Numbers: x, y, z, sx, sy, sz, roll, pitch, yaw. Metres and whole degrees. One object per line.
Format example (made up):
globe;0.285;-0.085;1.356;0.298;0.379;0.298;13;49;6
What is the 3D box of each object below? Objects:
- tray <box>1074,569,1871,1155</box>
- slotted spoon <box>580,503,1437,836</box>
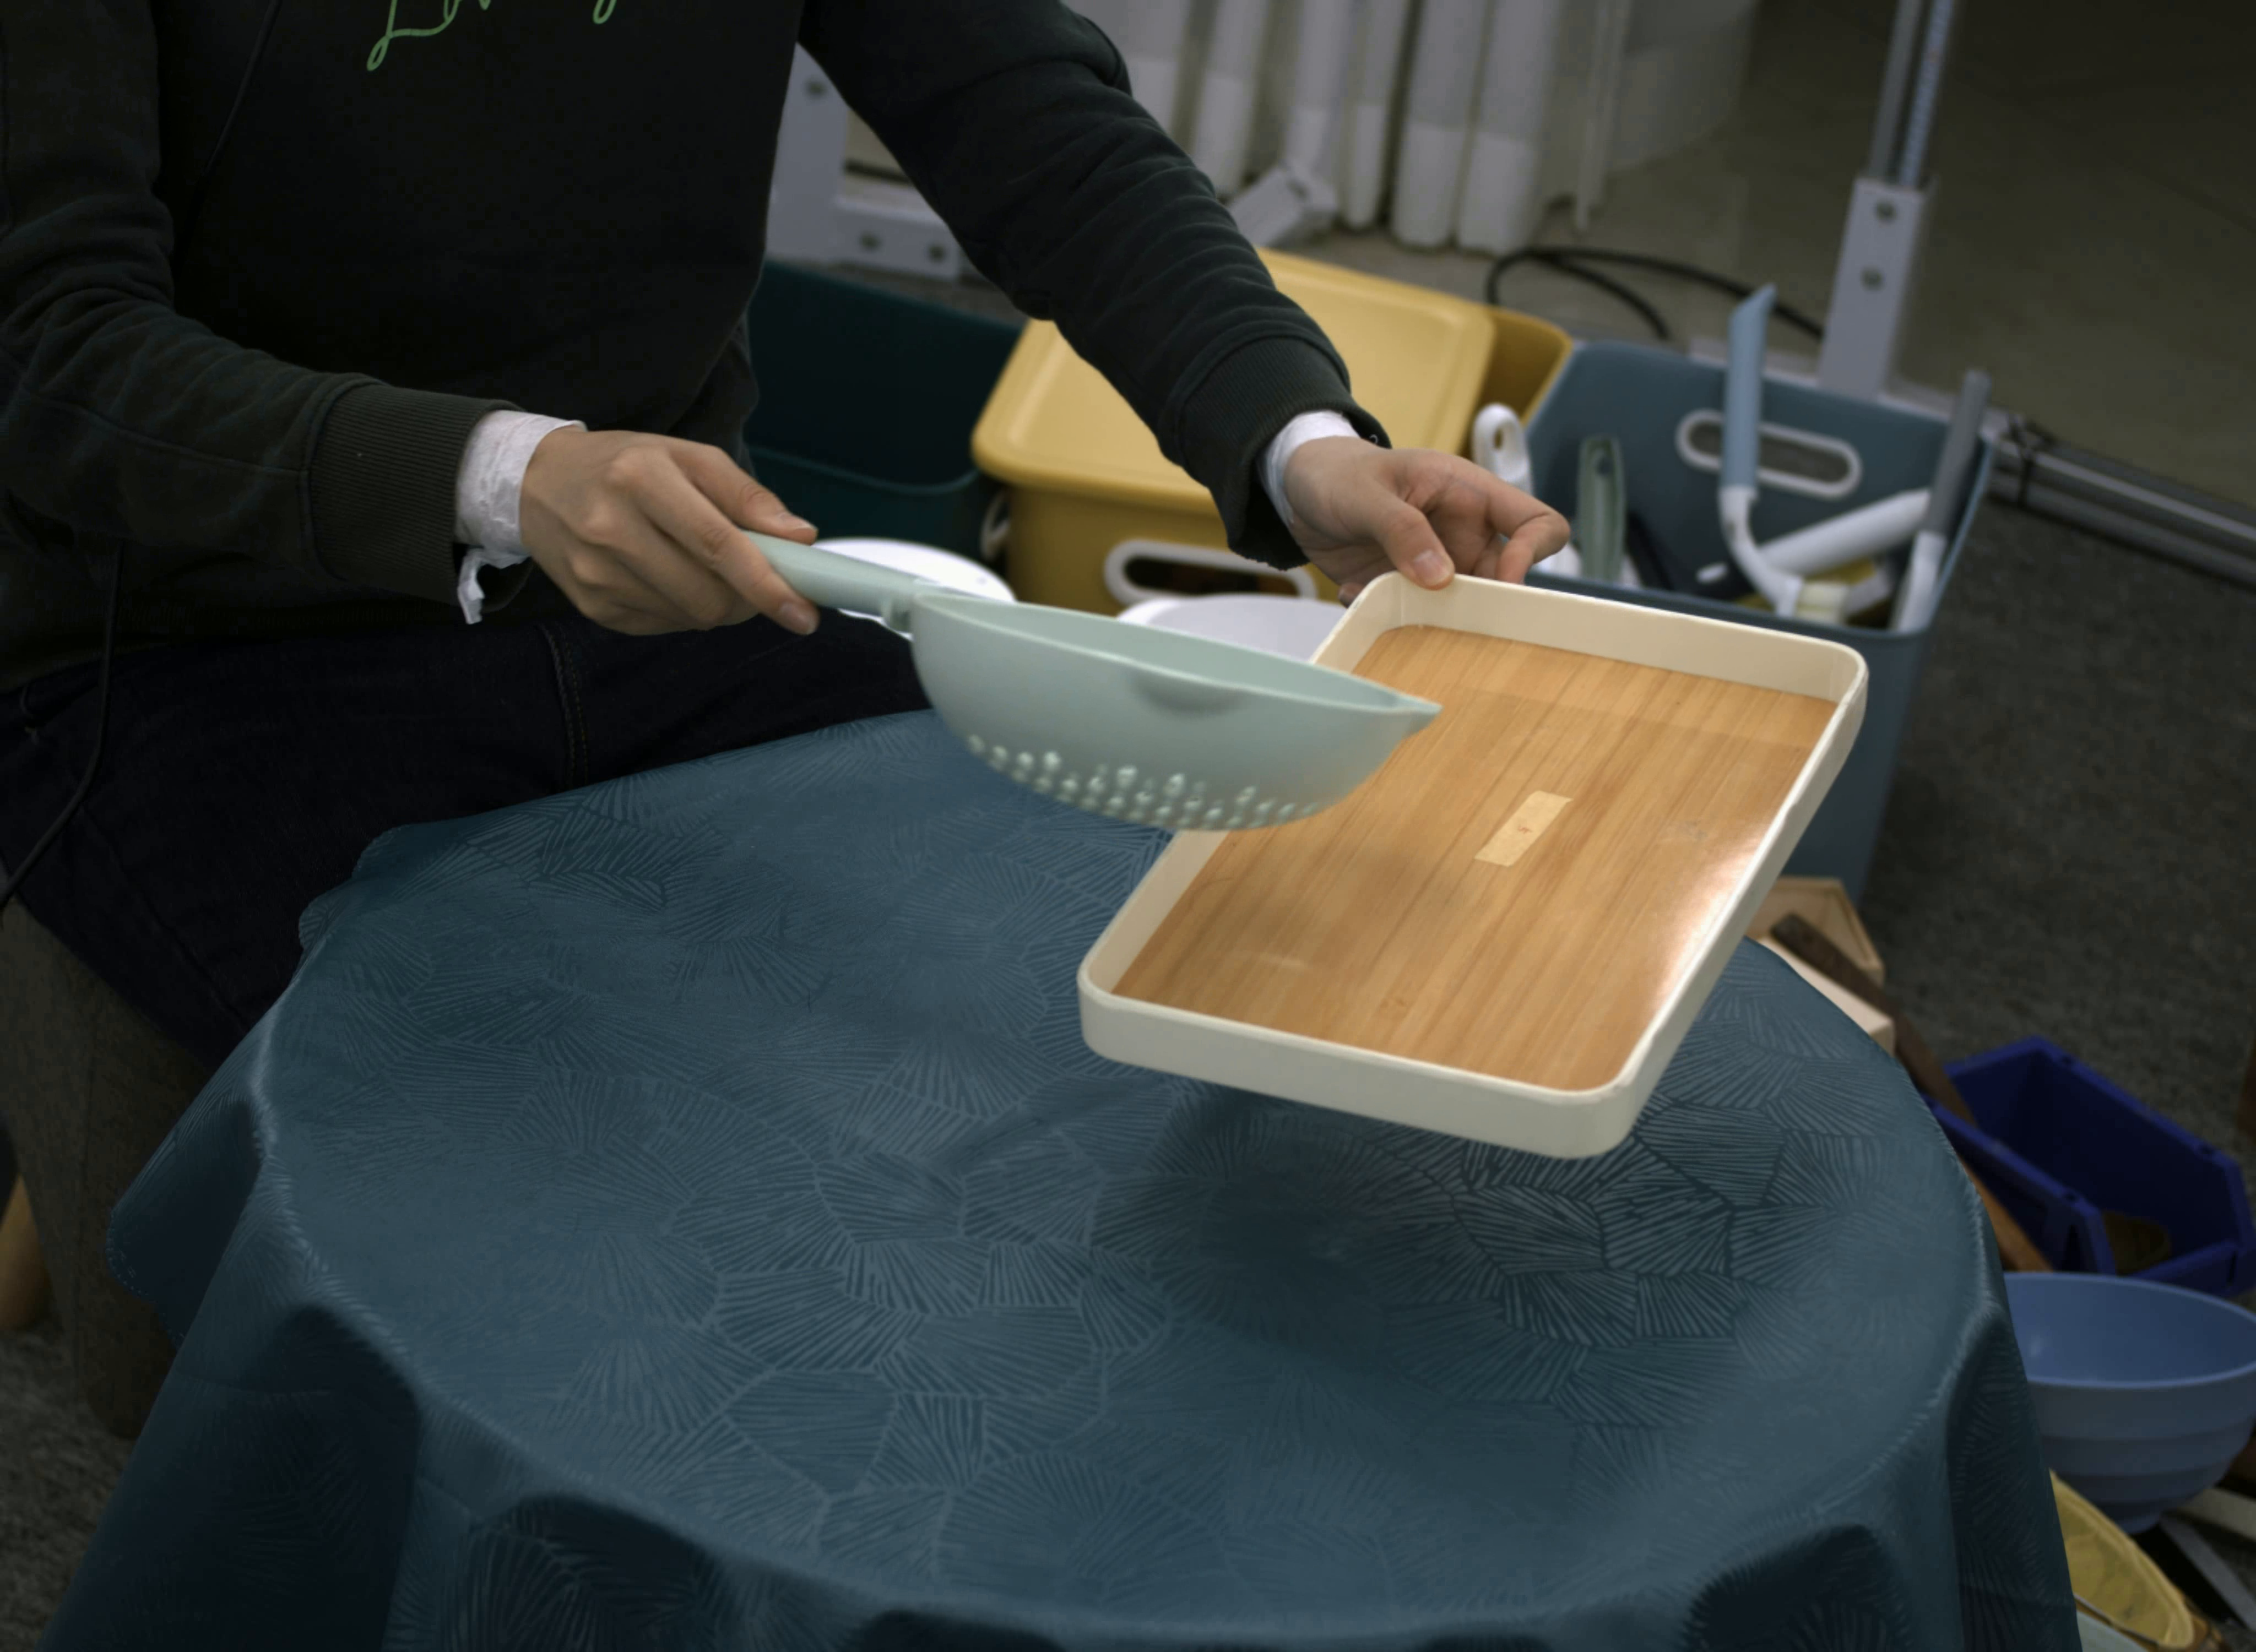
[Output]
tray;0.122;0.006;1.809;0.192;0.027;0.301;11;34;21
slotted spoon;-0.063;-0.067;1.798;0.361;0.075;0.168;28;13;40
